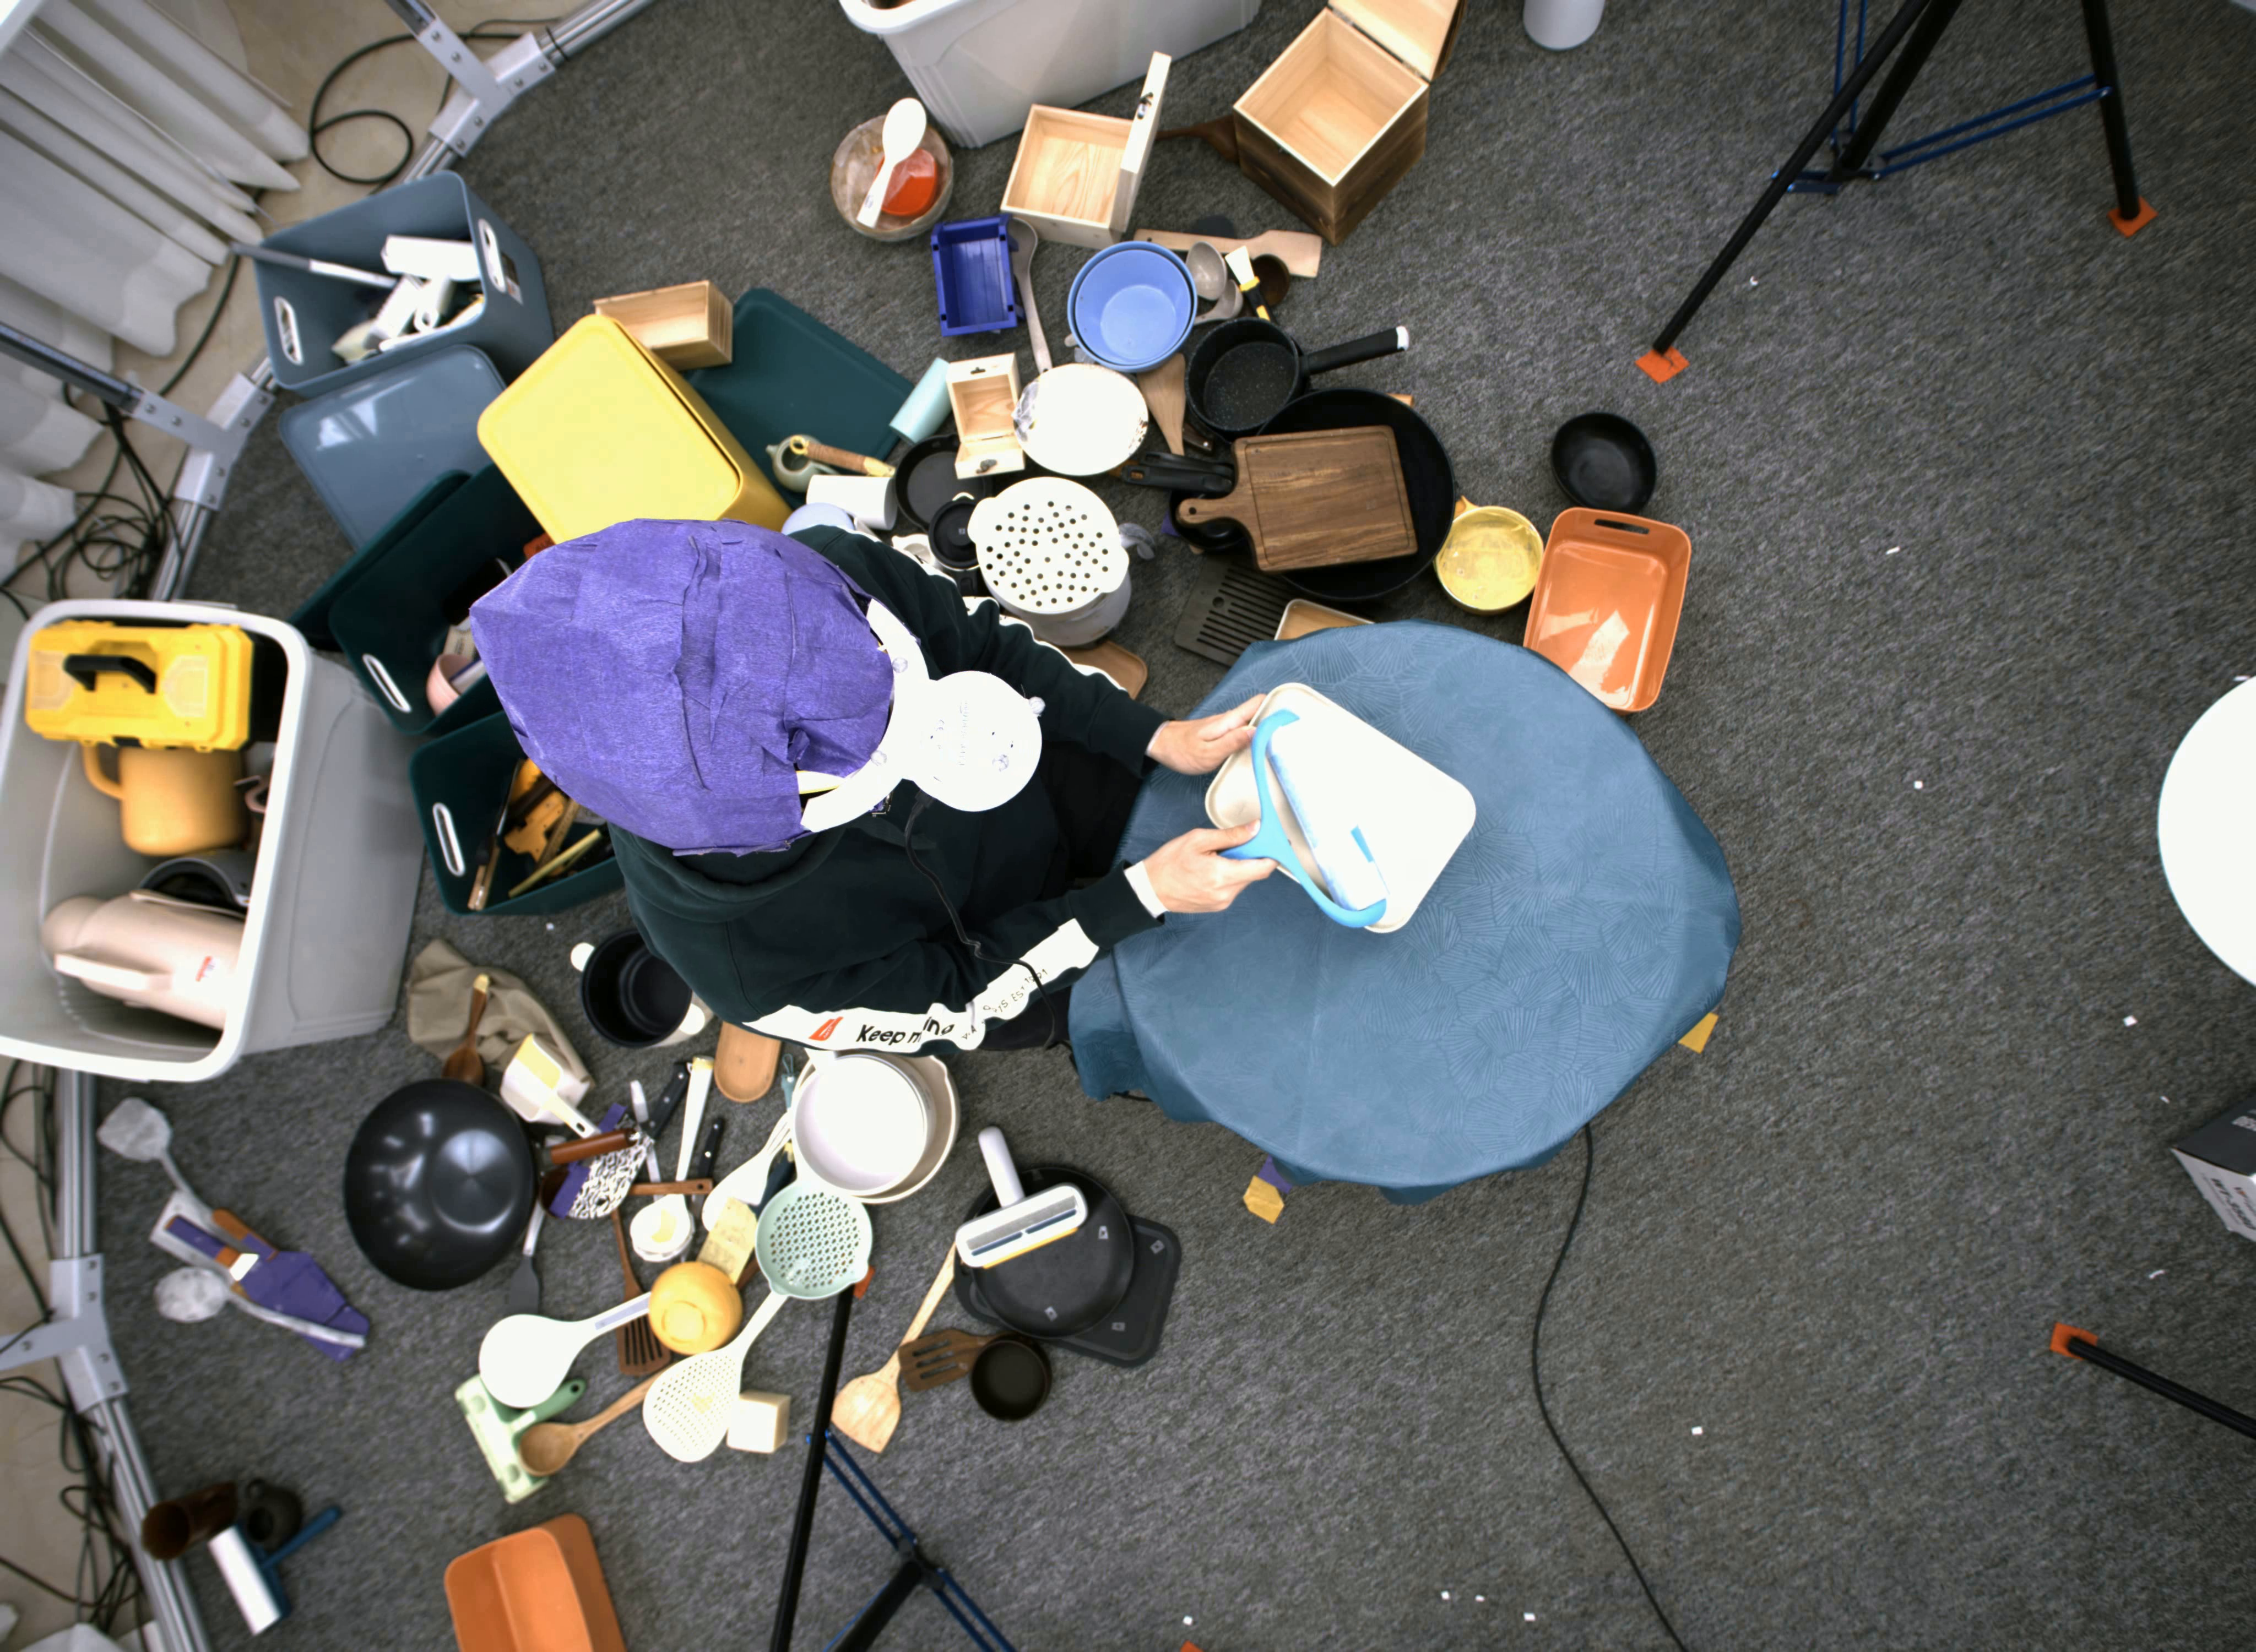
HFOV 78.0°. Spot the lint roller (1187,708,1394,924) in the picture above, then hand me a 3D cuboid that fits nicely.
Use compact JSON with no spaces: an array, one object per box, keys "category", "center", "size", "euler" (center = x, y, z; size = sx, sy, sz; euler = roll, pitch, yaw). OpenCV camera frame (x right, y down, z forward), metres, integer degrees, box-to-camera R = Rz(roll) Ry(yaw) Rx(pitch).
[{"category":"lint roller","center":[0.141,0.016,1.353],"size":[0.181,0.068,0.228],"euler":[-28,90,4]}]

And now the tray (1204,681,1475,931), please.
[{"category":"tray","center":[0.207,-0.021,1.367],"size":[0.239,0.017,0.173],"euler":[34,105,10]}]
